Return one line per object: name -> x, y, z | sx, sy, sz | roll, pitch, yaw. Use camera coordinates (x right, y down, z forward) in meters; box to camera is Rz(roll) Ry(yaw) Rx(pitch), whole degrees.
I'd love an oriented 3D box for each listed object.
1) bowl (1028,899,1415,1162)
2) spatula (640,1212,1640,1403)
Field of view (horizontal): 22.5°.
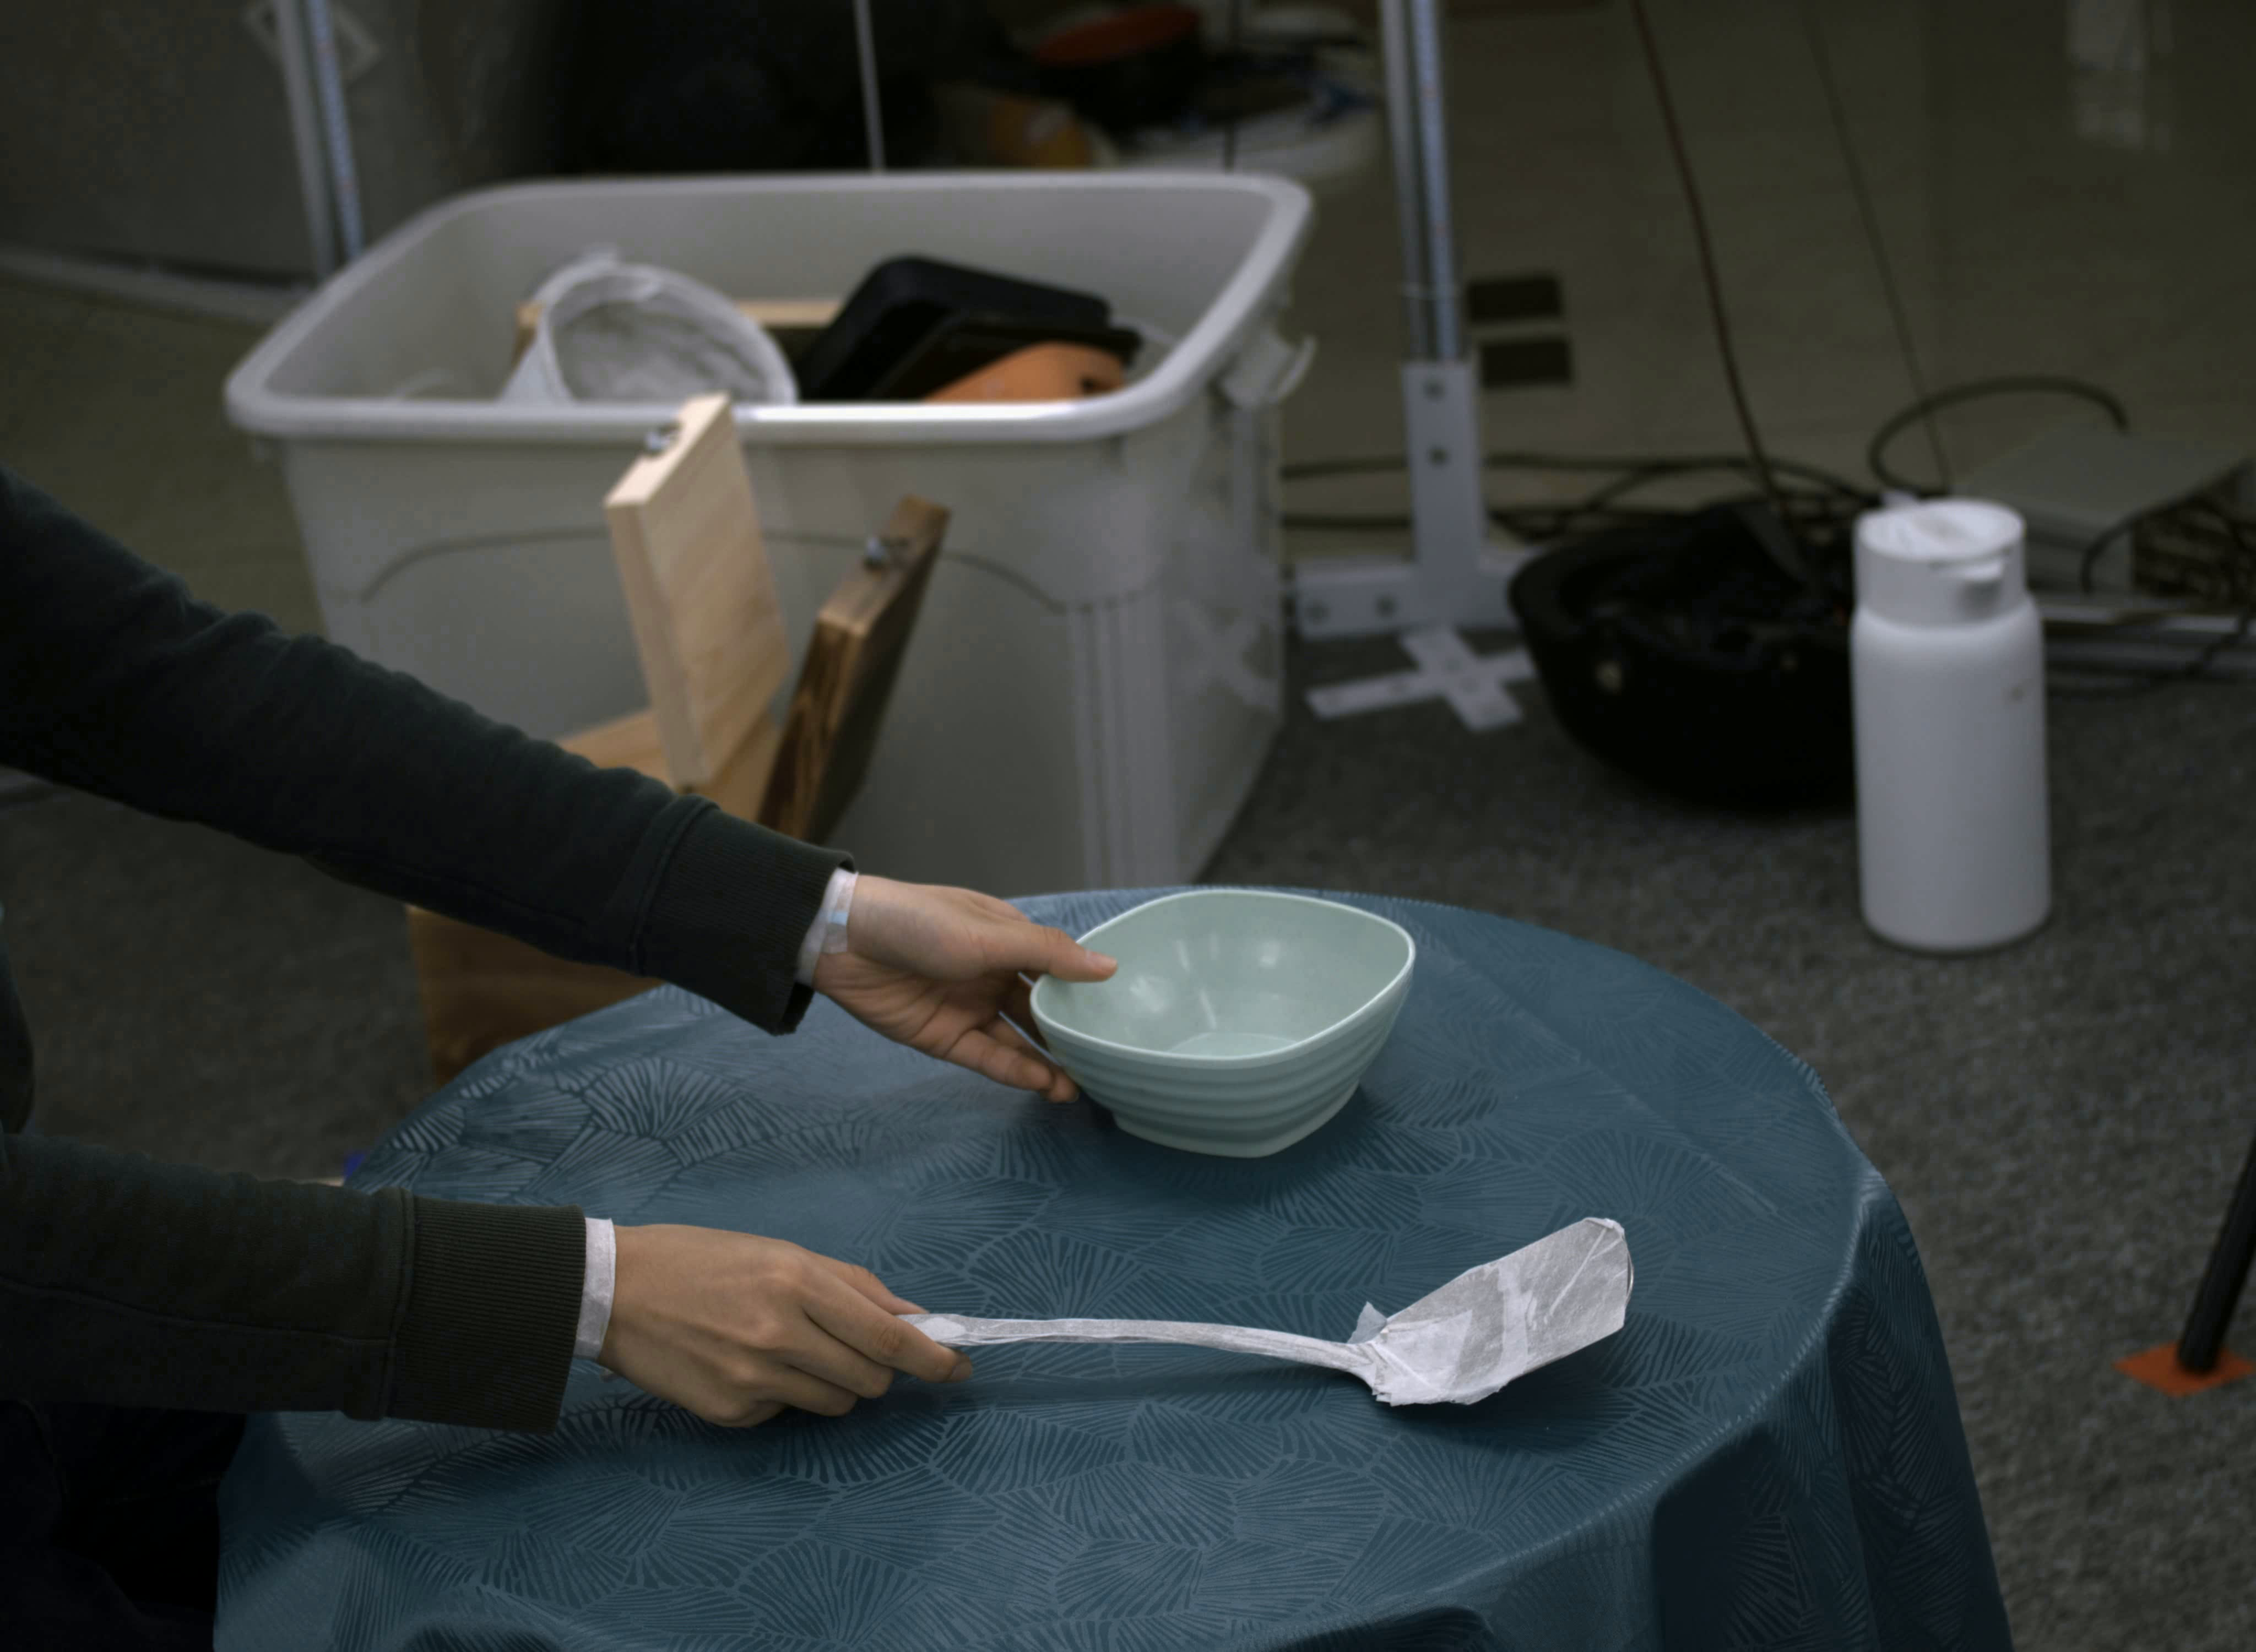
bowl -> 0.038, 0.084, 2.196 | 0.151, 0.059, 0.149 | -3, 24, 1
spatula -> 0.000, 0.175, 2.020 | 0.364, 0.045, 0.097 | 0, 26, 8
